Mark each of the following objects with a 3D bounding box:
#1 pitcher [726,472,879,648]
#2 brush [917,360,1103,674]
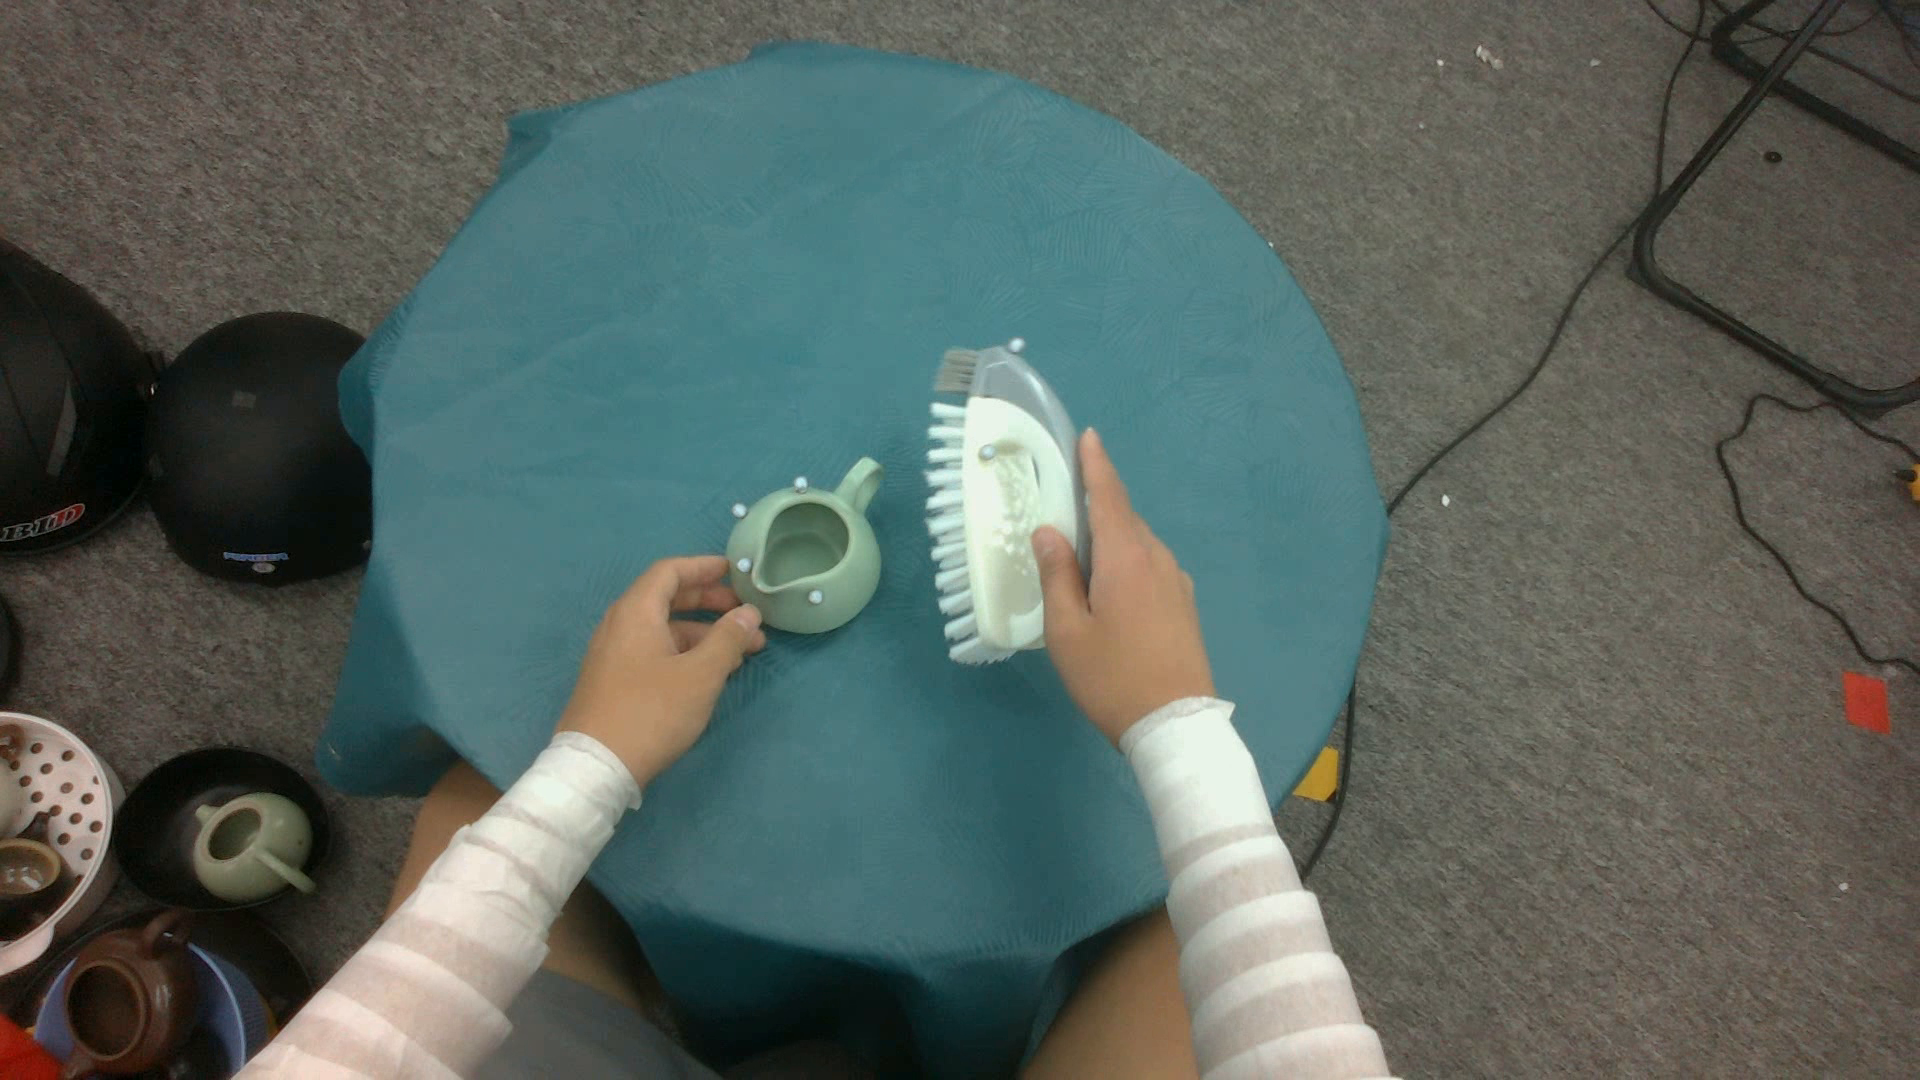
[{"bbox_3d":[-0.081,0.008,0.773,0.086,0.060,0.108,32,62,5],"label":"pitcher"},{"bbox_3d":[0.027,-0.021,0.743,0.061,0.094,0.176,4,72,-52],"label":"brush"}]
